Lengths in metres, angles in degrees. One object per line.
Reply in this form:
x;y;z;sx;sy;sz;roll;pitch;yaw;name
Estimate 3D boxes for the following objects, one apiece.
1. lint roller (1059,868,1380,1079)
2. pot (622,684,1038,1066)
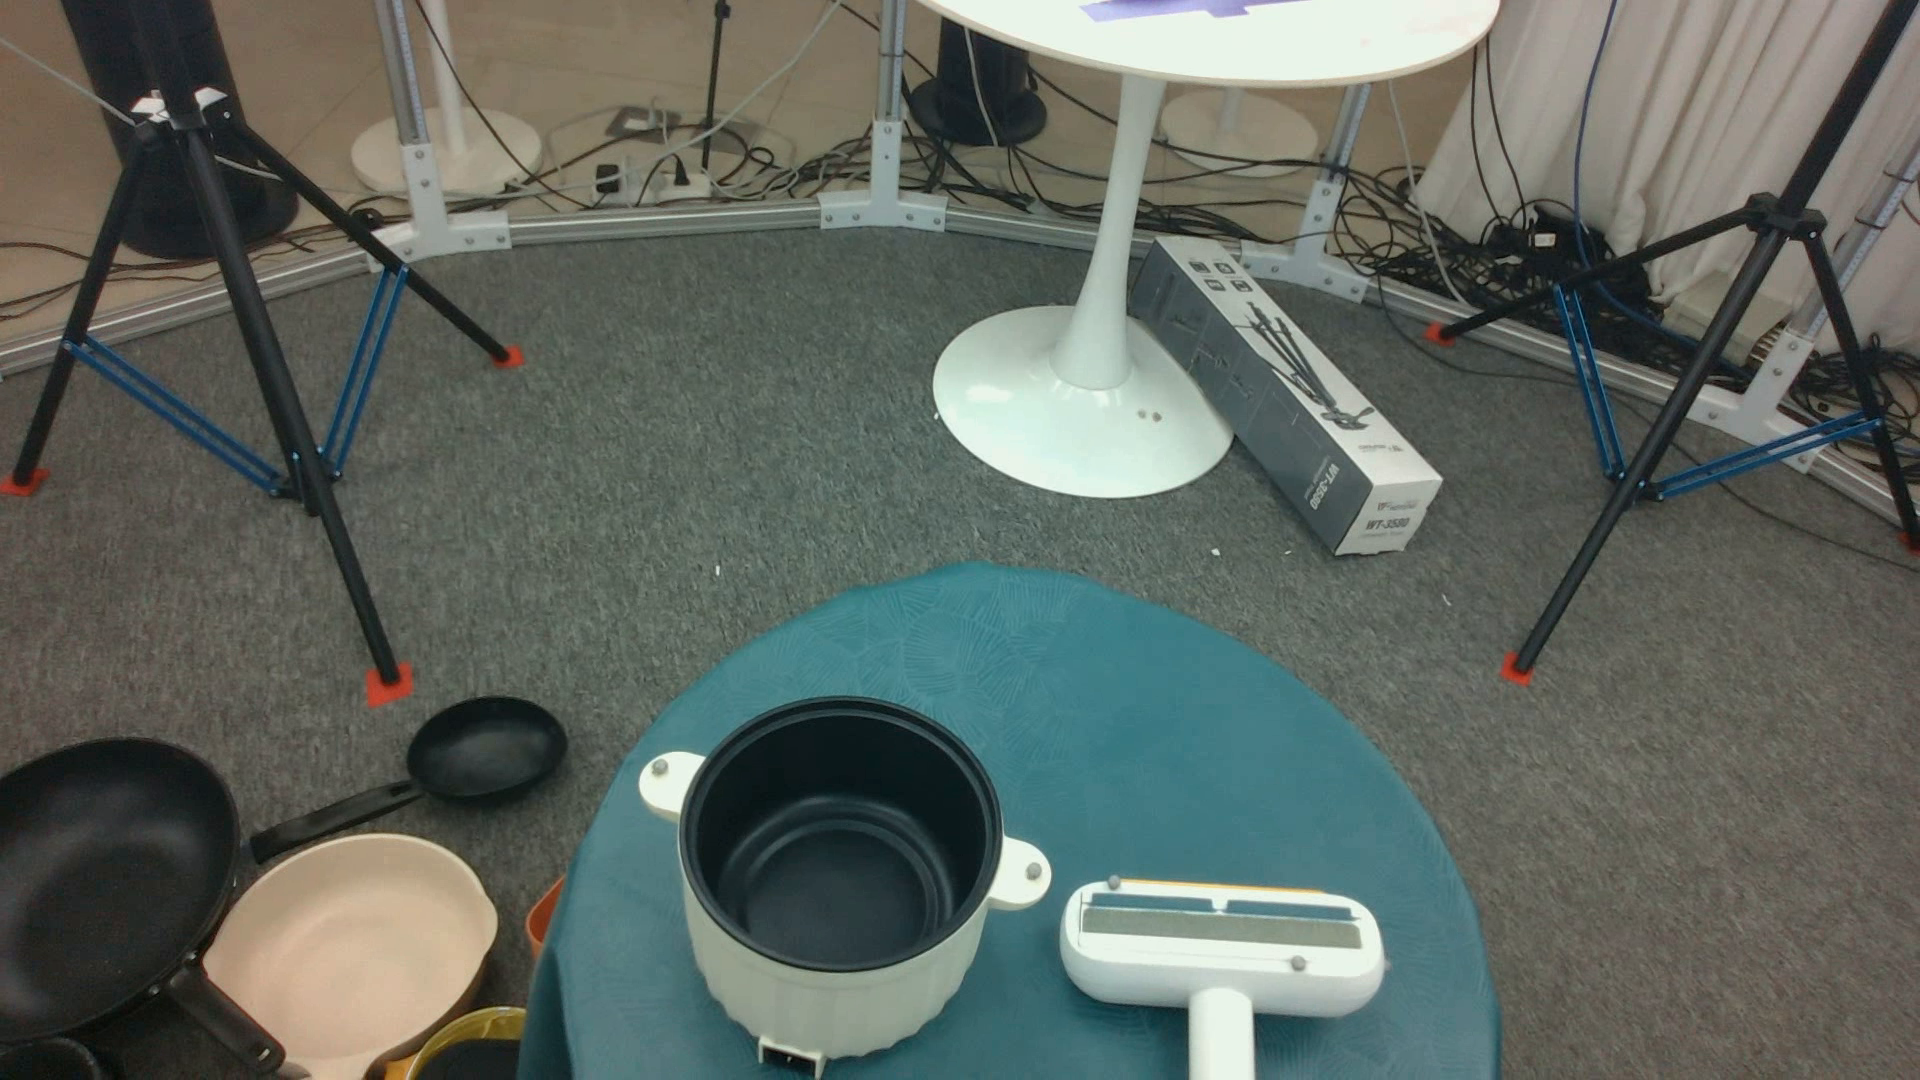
0.148;0.290;0.809;0.193;0.074;0.193;7;46;6;lint roller
-0.080;0.194;0.820;0.240;0.142;0.191;14;47;4;pot
